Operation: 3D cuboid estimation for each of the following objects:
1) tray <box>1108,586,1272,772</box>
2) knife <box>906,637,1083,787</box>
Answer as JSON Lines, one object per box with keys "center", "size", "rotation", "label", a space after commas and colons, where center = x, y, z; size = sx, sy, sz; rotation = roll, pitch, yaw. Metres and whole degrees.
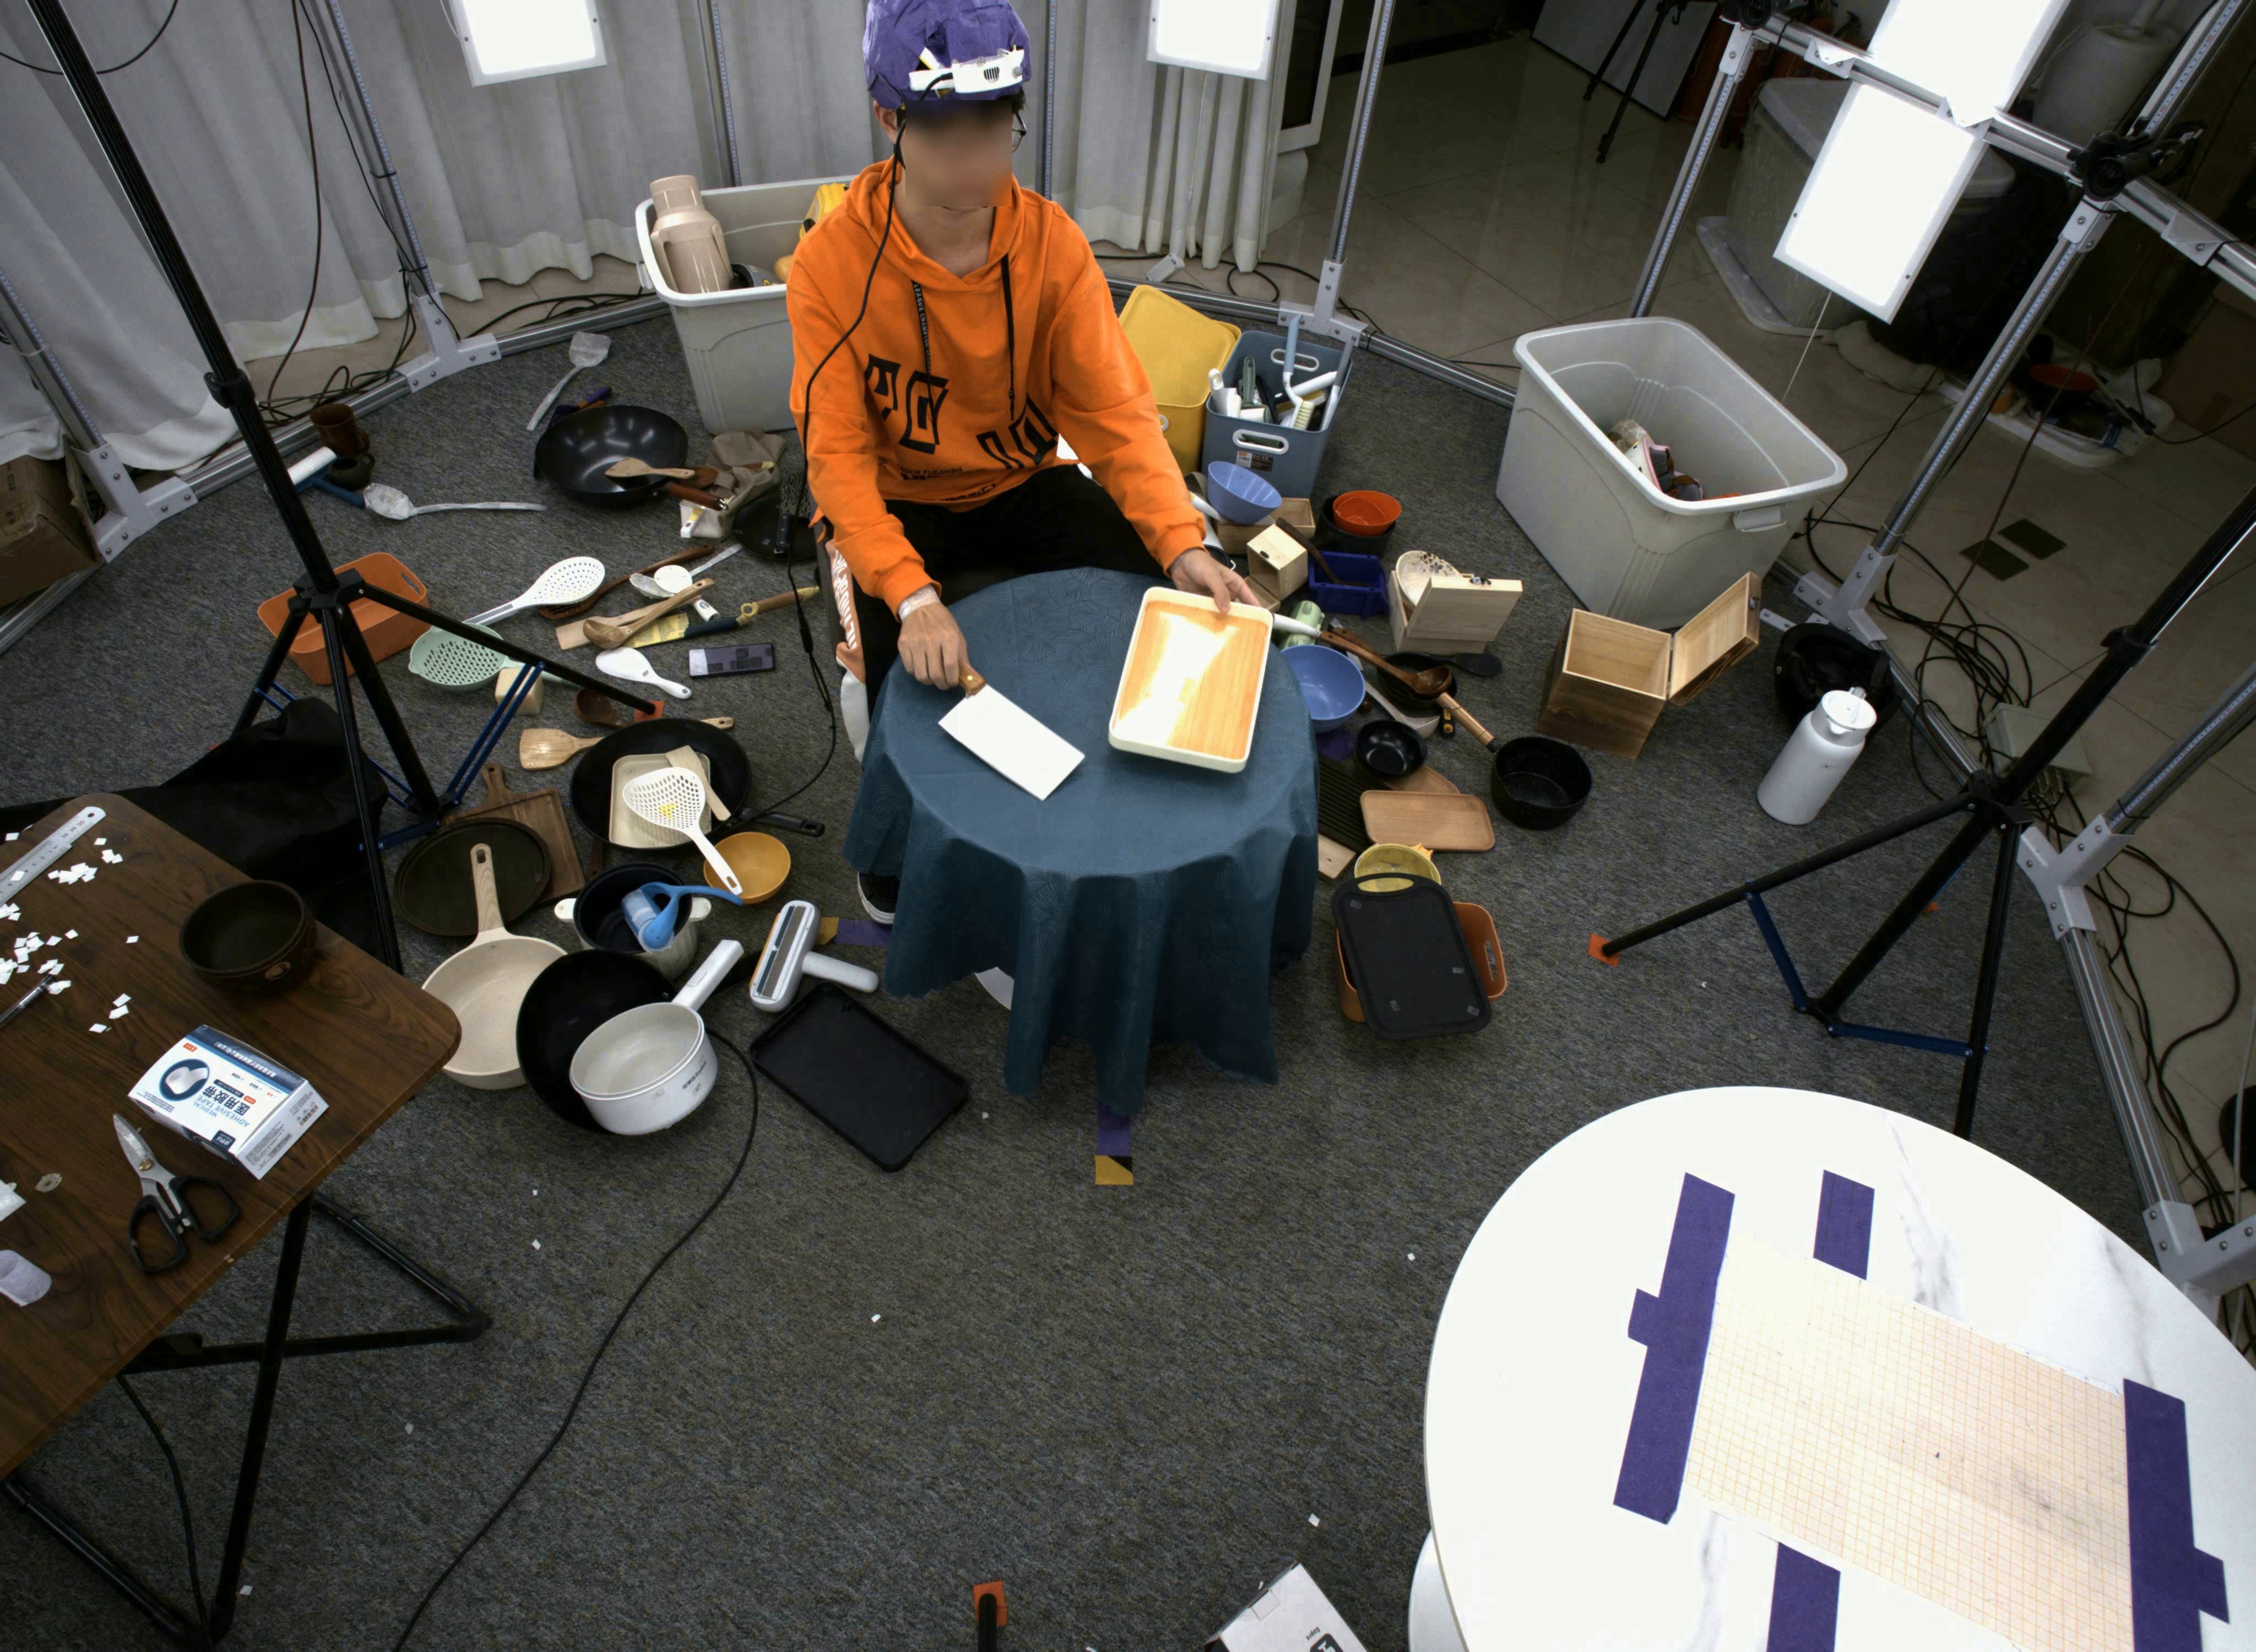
{"center": [0.091, -0.211, 1.790], "size": [0.191, 0.027, 0.307], "rotation": [12, 52, 3], "label": "tray"}
{"center": [-0.201, -0.153, 1.752], "size": [0.309, 0.020, 0.094], "rotation": [36, 68, 19], "label": "knife"}
